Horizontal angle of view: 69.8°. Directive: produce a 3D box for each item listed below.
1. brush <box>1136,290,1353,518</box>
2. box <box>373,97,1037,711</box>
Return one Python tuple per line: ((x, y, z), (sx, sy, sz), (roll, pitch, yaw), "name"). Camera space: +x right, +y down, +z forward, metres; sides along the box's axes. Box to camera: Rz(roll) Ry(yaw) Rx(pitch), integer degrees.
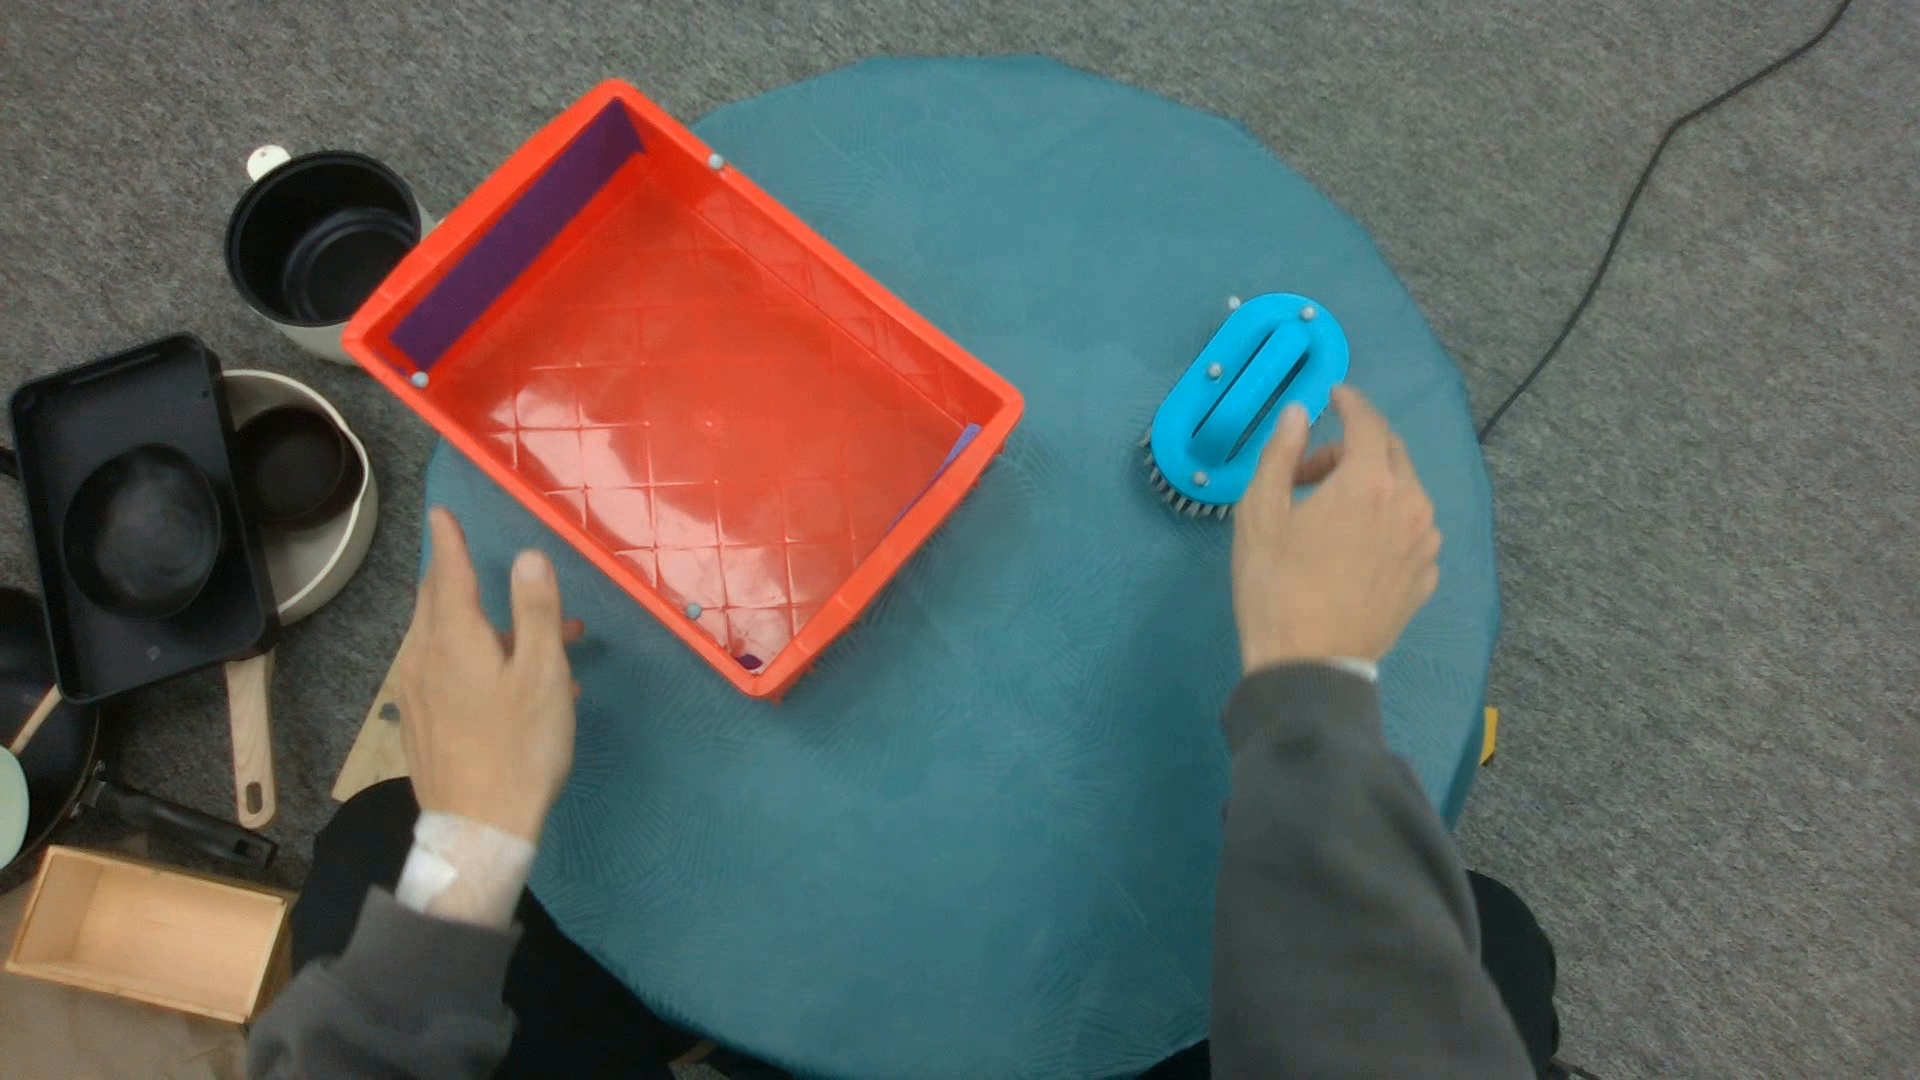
((0.164, -0.078, 0.767), (0.084, 0.063, 0.142), (40, 80, 6), "brush")
((-0.133, -0.071, 0.757), (0.303, 0.096, 0.207), (40, 78, 11), "box")
